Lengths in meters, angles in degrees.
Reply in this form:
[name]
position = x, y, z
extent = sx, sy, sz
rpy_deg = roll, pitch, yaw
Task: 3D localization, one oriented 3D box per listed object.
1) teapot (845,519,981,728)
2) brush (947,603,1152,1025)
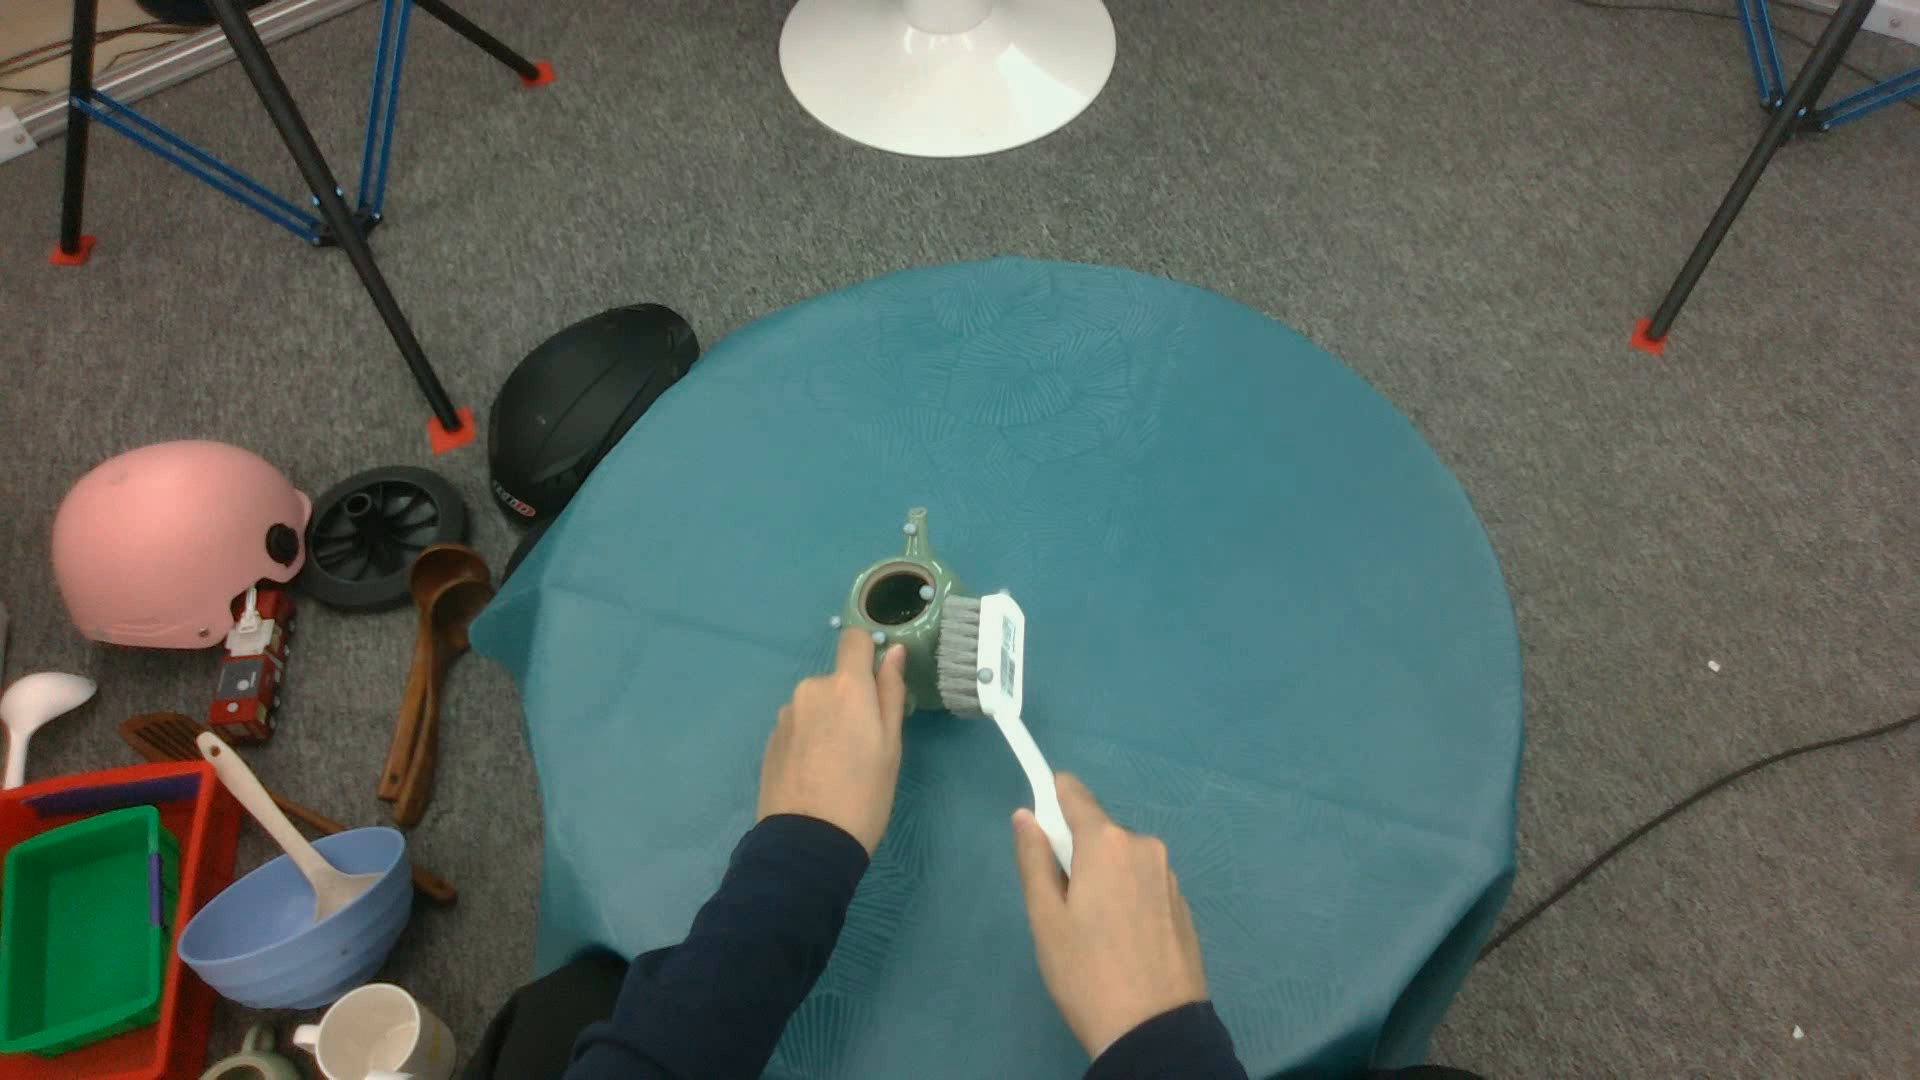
[teapot]
position = -0.028, 0.059, 0.802
extent = 0.079, 0.075, 0.133
rpy_deg = -1, 51, 19
[brush]
position = 0.037, 0.134, 0.706
extent = 0.050, 0.034, 0.244
rpy_deg = -25, 55, 10
